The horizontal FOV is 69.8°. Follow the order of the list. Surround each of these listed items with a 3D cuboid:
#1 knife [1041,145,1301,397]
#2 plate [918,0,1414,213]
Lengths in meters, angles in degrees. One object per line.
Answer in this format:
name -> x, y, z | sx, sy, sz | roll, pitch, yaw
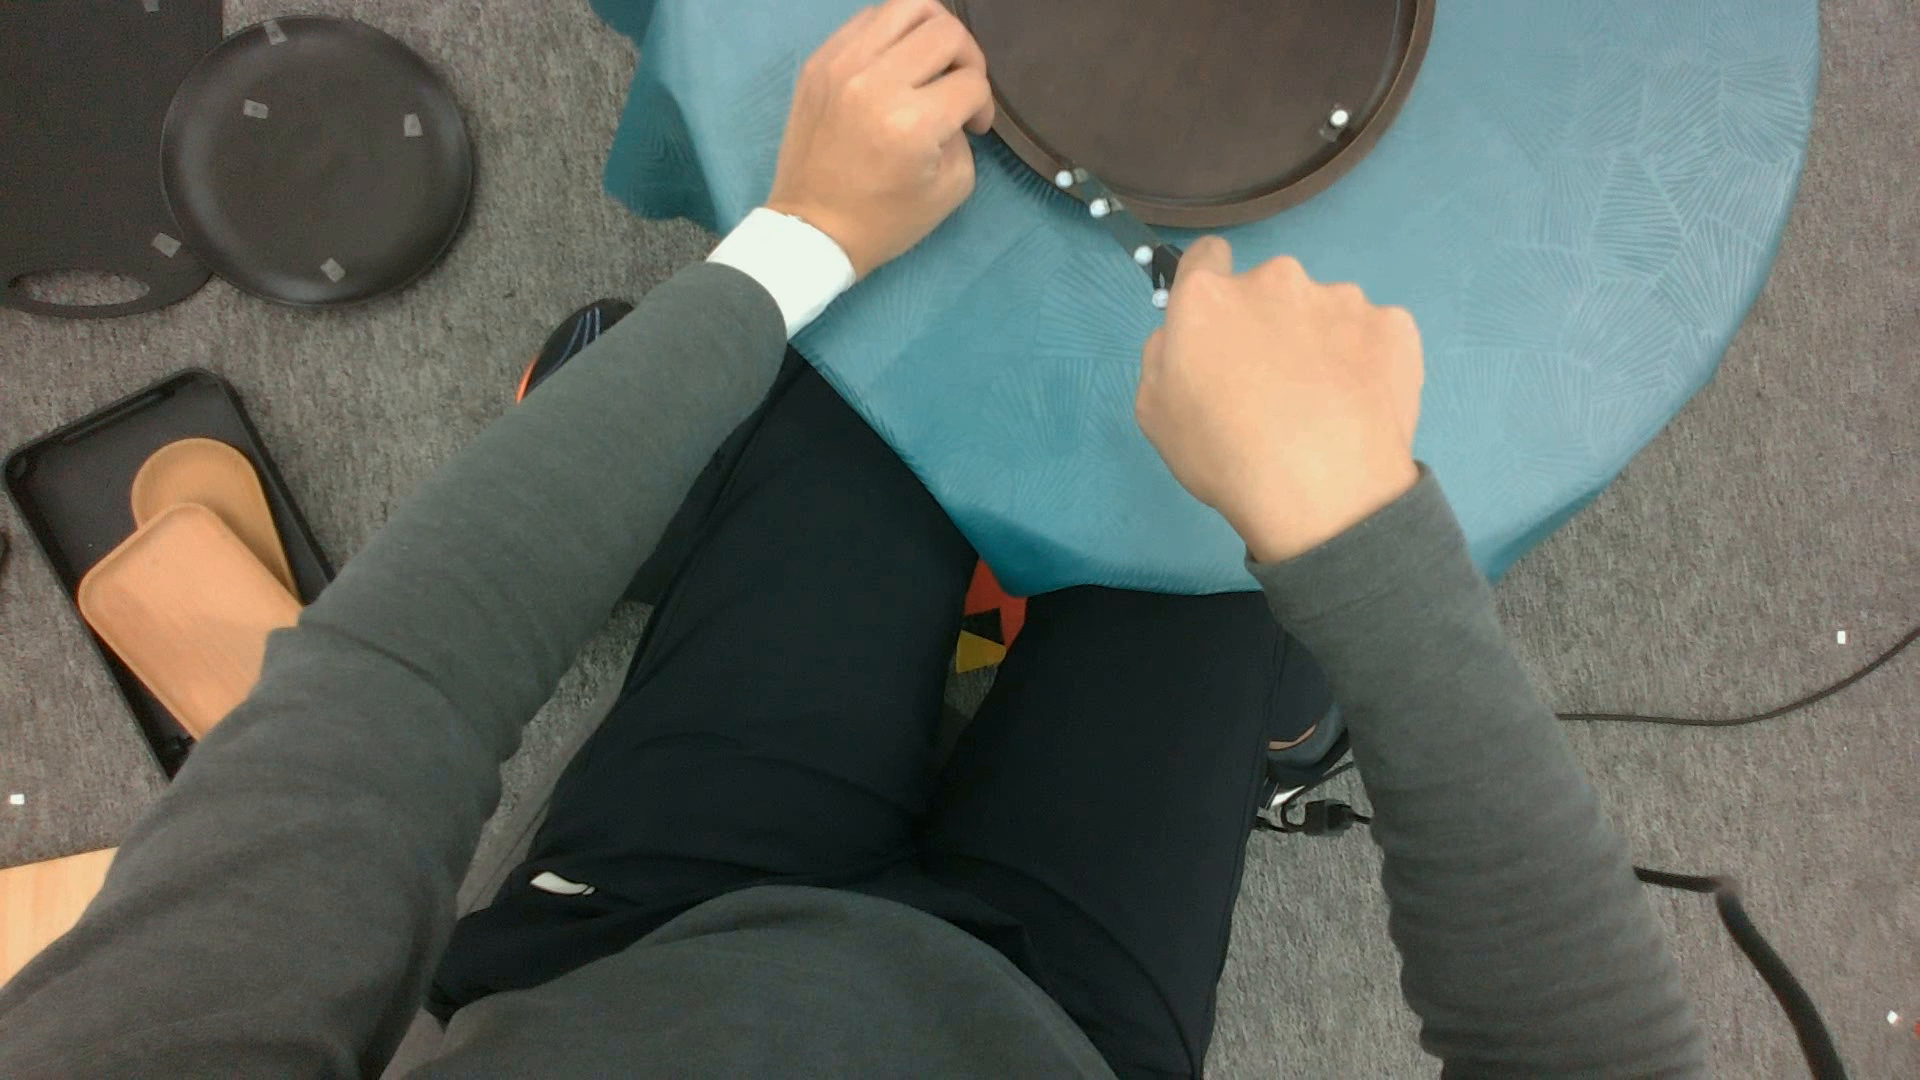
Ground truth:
knife -> 0.077, -0.124, 0.569 | 0.016, 0.239, 0.024 | -16, 129, -11
plate -> 0.101, -0.285, 0.674 | 0.255, 0.029, 0.255 | 0, 88, -8
